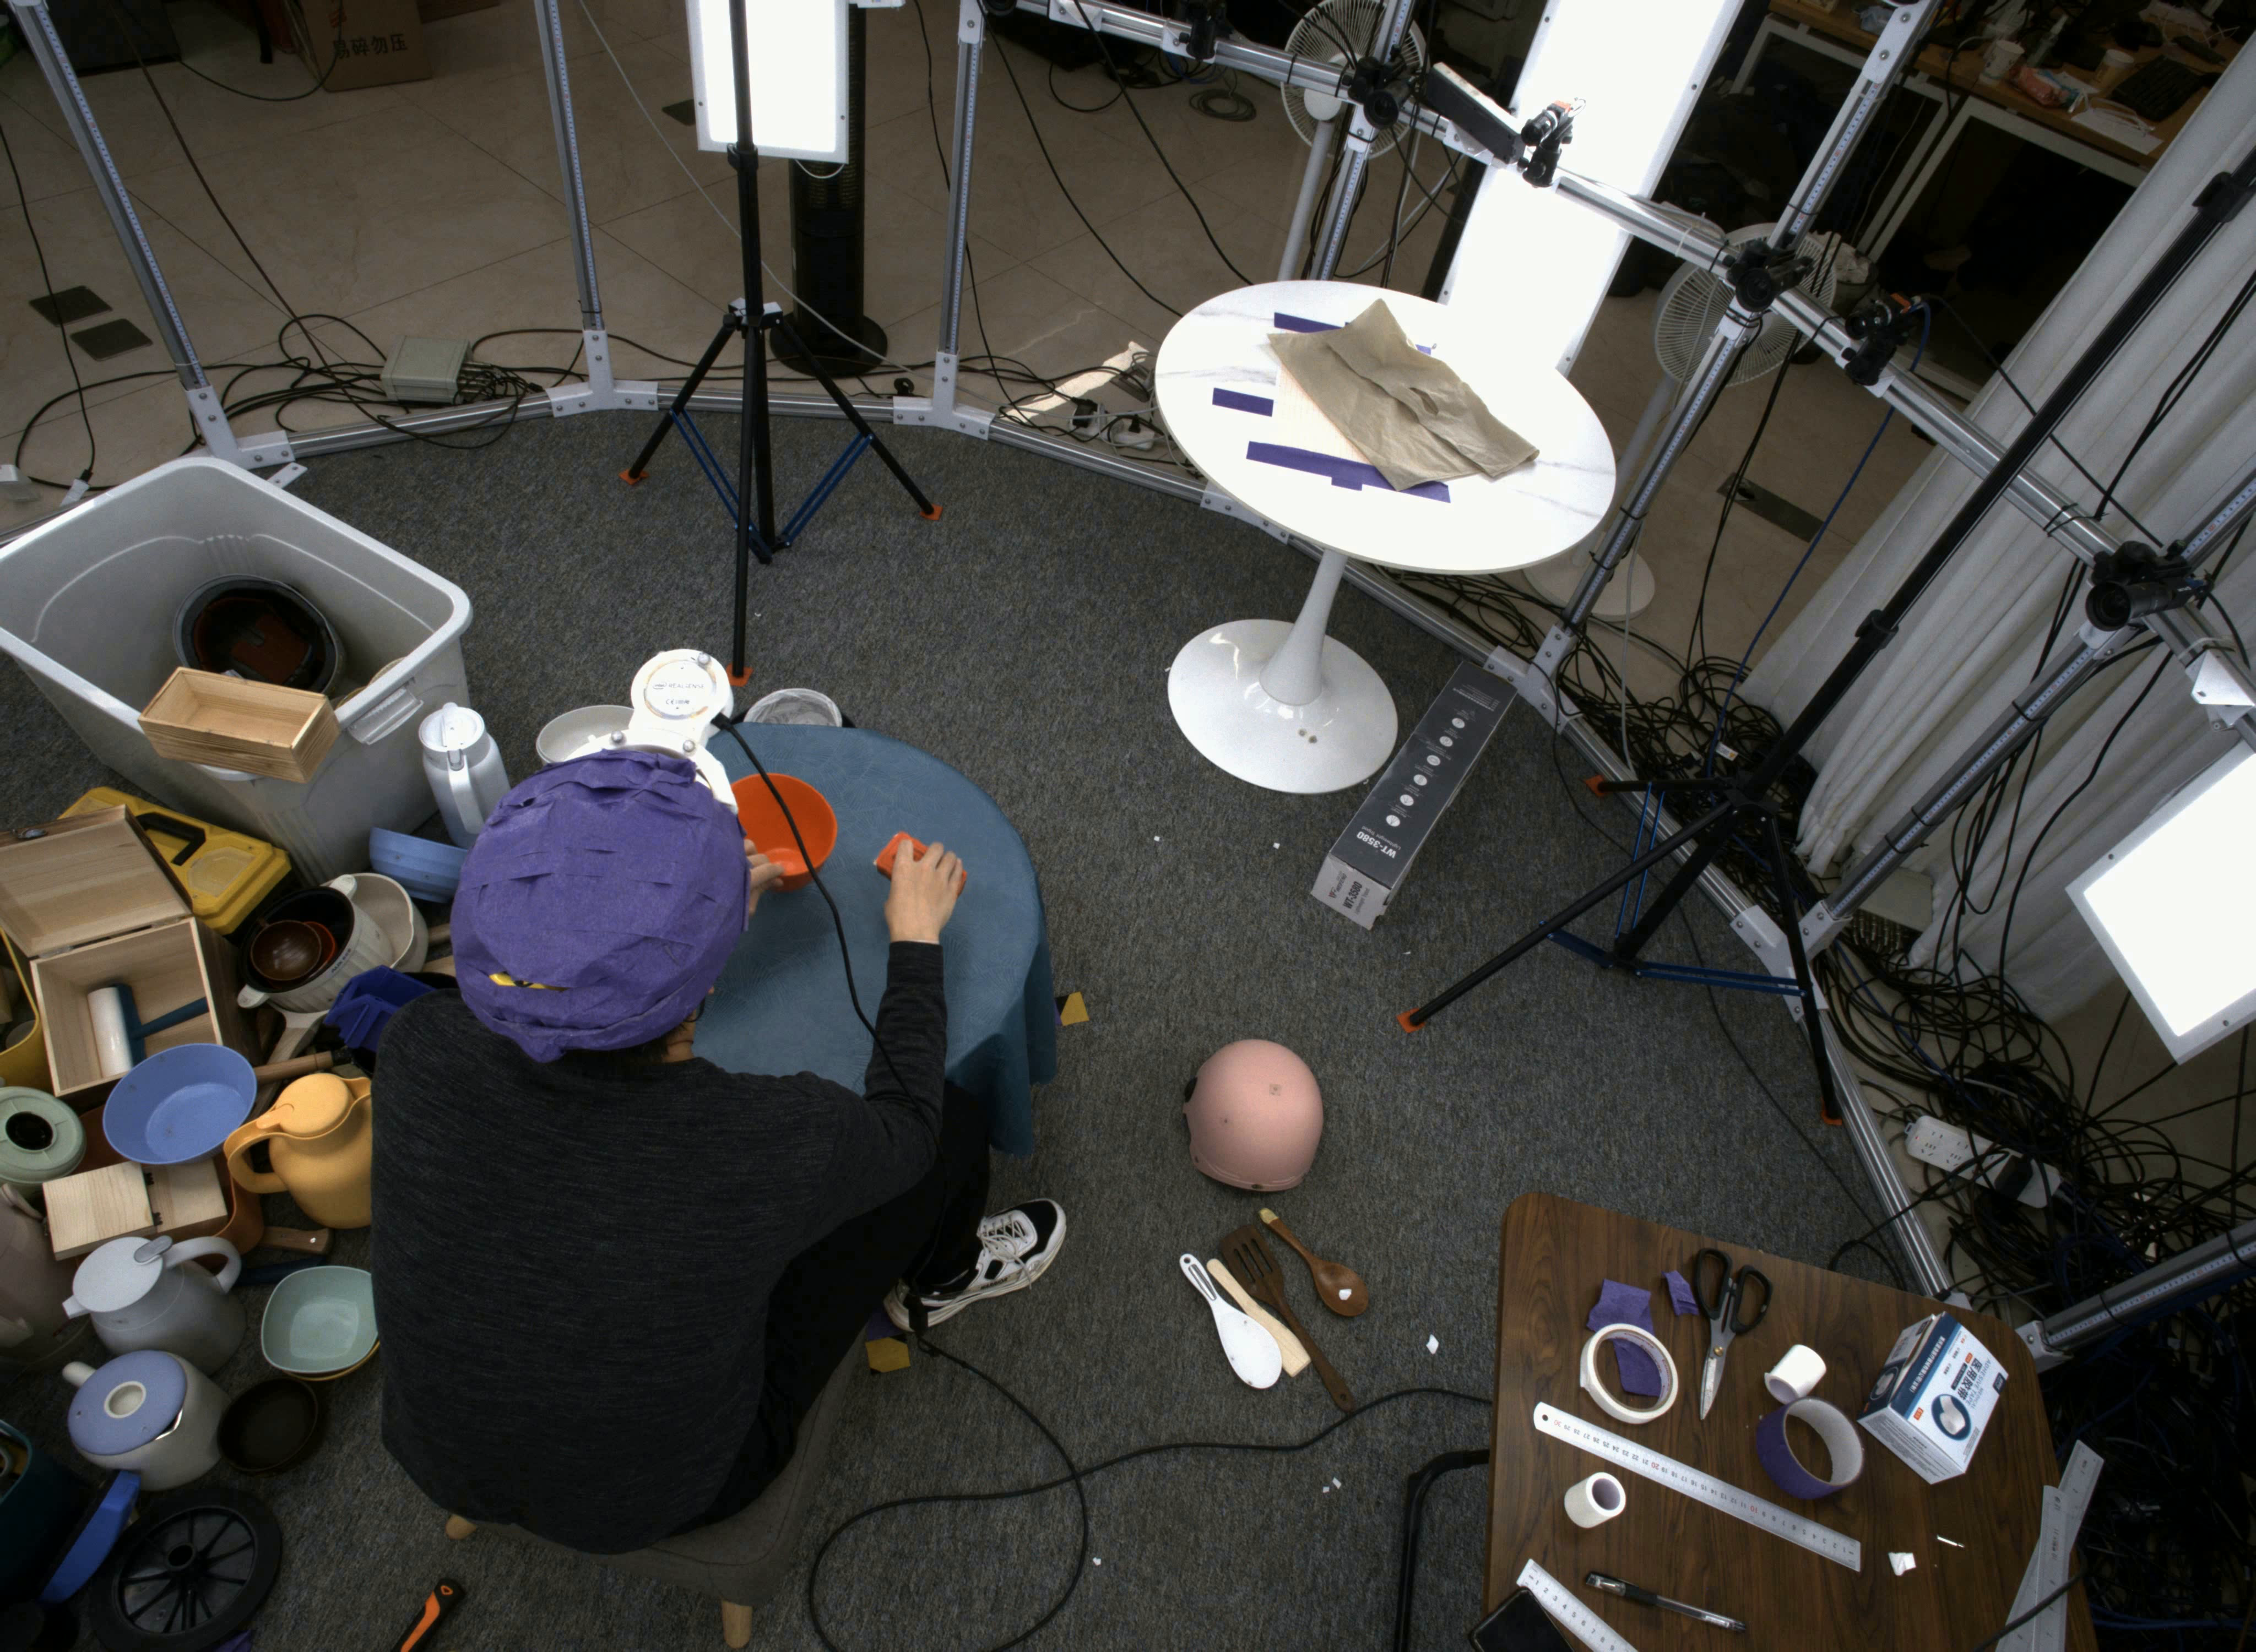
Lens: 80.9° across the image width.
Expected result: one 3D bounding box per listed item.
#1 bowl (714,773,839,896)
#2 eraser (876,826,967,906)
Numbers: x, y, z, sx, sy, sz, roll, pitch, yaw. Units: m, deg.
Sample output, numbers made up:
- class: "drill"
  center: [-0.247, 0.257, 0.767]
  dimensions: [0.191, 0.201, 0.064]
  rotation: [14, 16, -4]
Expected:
- class: "bowl"
  center: [-0.429, 0.021, 1.590]
  dimensions: [0.148, 0.107, 0.145]
  rotation: [9, 50, -9]
- class: "eraser"
  center: [-0.255, 0.048, 1.610]
  dimensions: [0.106, 0.023, 0.059]
  rotation: [31, 61, 7]
